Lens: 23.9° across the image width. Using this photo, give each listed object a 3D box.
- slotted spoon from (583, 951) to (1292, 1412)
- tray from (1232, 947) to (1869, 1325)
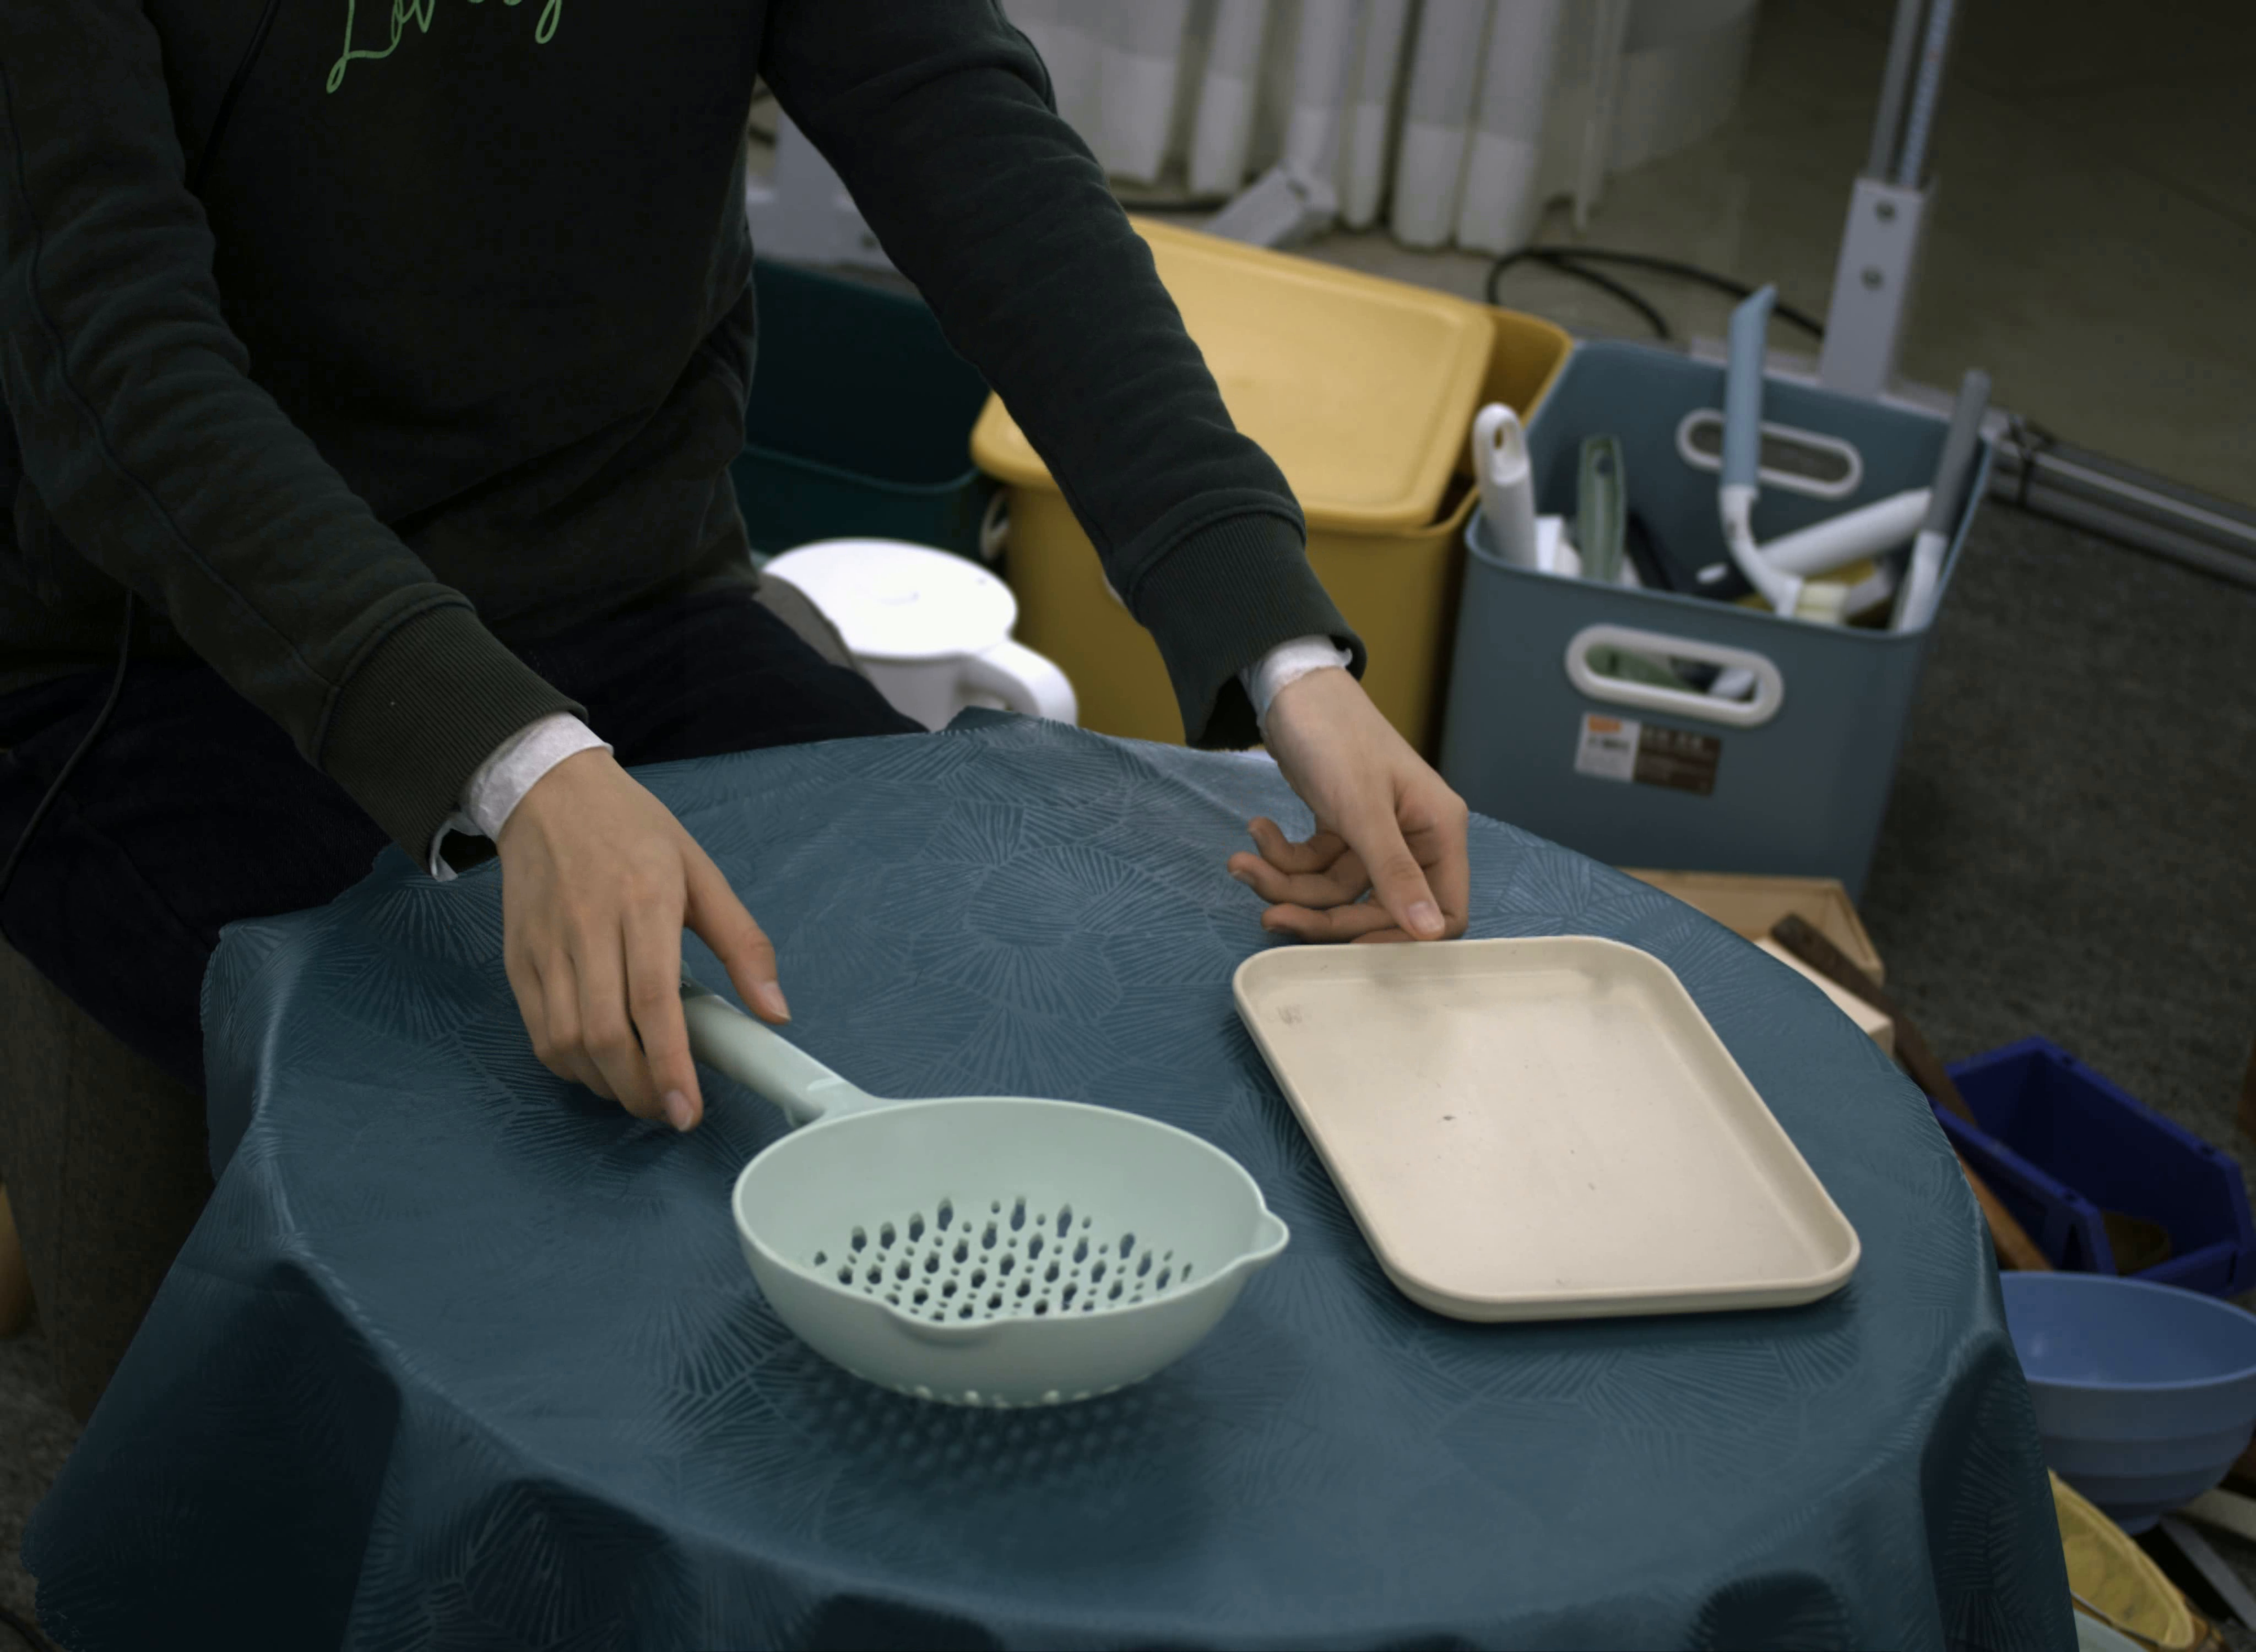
[{"bbox_3d":[-0.093,0.101,1.754,0.168,0.075,0.362,-10,30,-31],"label":"slotted spoon"},{"bbox_3d":[0.142,0.106,1.849,0.170,0.017,0.242,-2,27,-16],"label":"tray"}]
